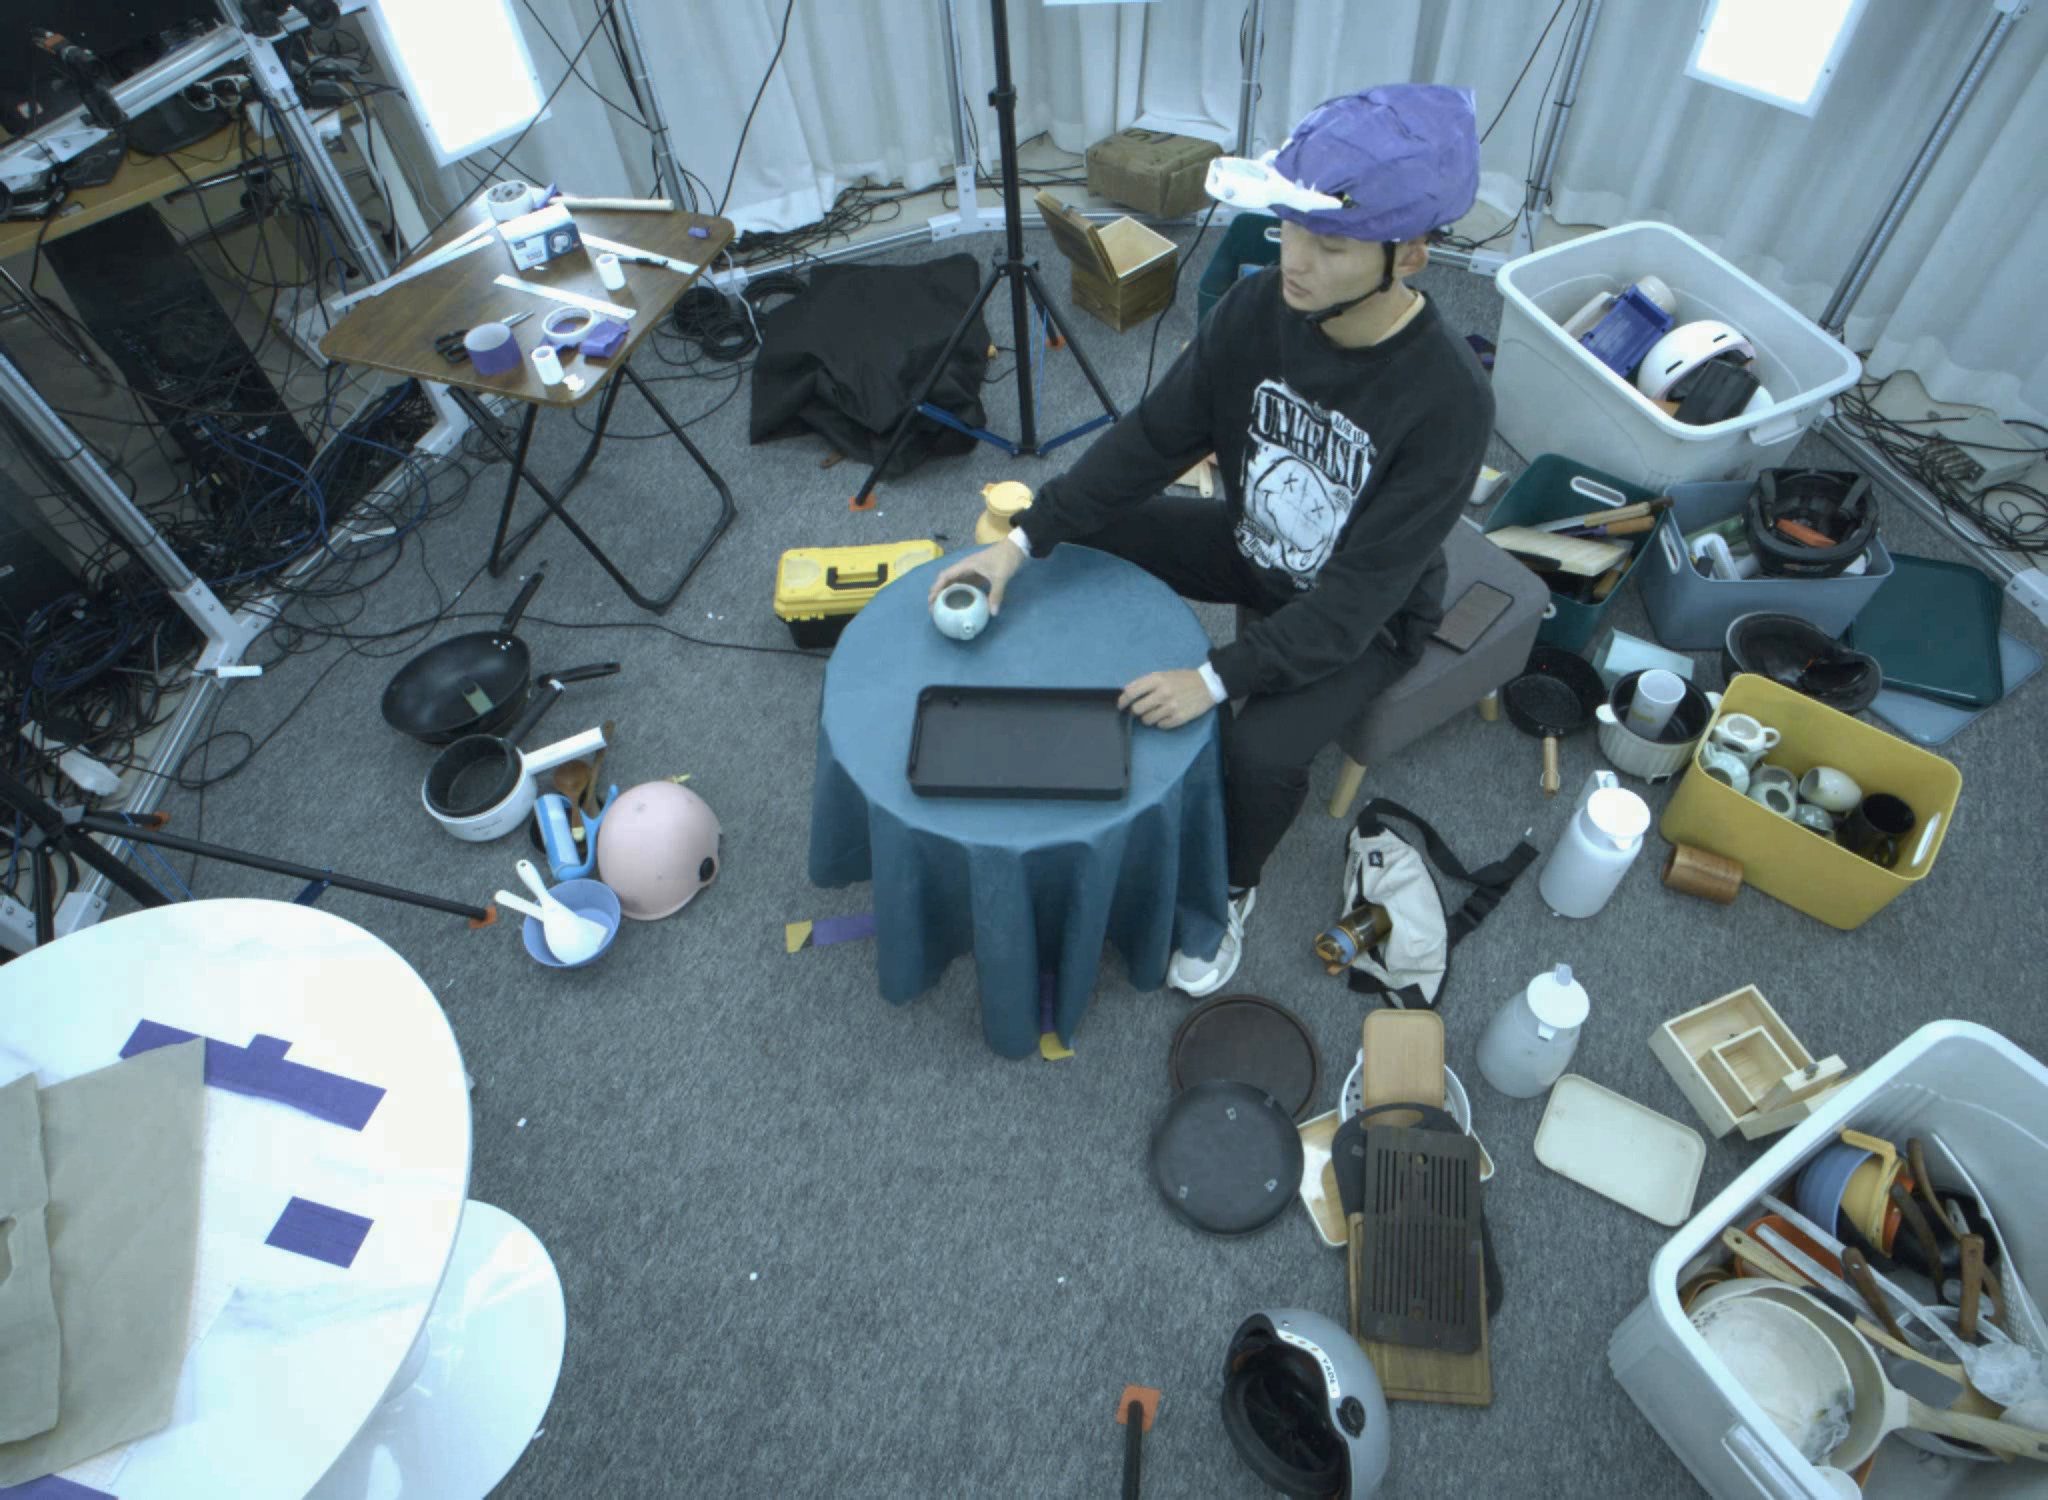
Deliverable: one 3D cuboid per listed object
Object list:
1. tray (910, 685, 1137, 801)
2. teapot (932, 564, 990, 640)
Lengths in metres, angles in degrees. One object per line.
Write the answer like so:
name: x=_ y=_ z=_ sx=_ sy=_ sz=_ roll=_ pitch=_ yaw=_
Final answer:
tray: x=0.001 y=-0.012 z=1.769 sx=0.318 sy=0.037 sz=0.182 roll=0 pitch=54 yaw=2
teapot: x=-0.098 y=-0.216 z=1.895 sx=0.089 sy=0.075 sz=0.141 roll=-12 pitch=57 yaw=-5
